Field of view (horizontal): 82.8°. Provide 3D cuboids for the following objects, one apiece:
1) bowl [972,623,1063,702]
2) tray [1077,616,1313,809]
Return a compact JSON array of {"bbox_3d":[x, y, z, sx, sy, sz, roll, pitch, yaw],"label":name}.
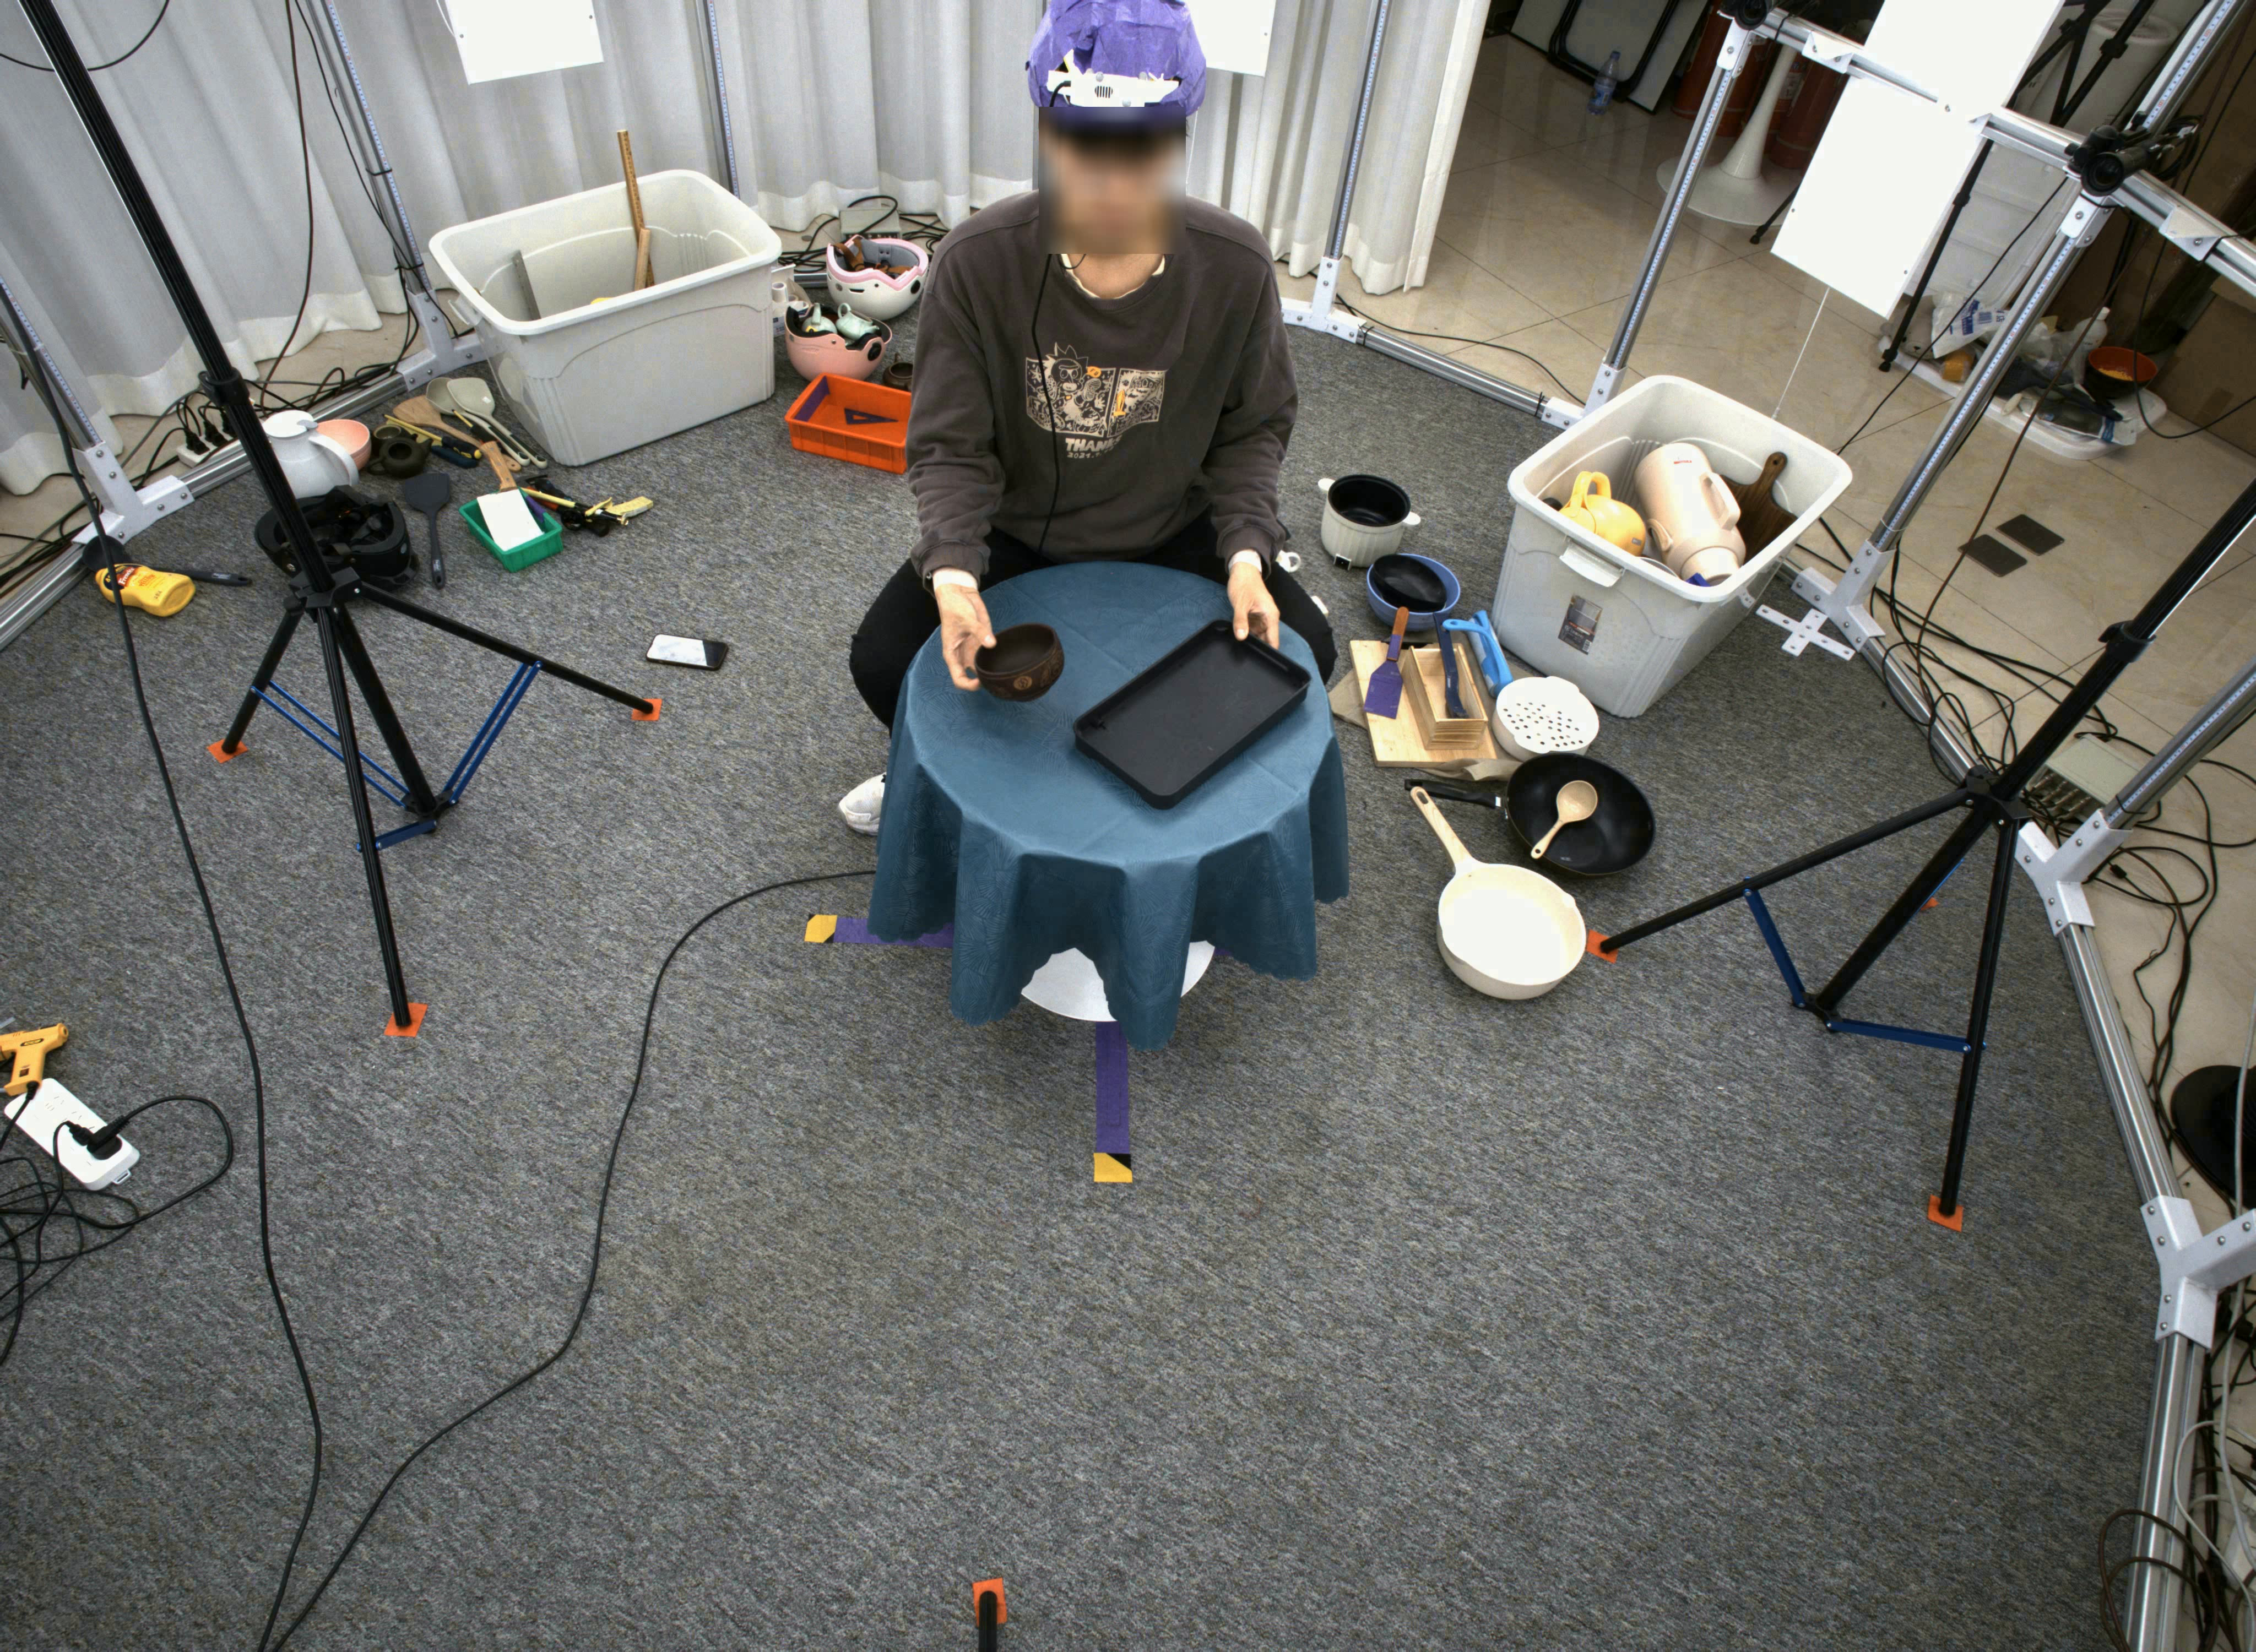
[{"bbox_3d":[-0.140,-0.209,1.707,0.118,0.068,0.121,-14,37,11],"label":"bowl"},{"bbox_3d":[0.095,-0.164,1.782,0.187,0.036,0.321,35,59,26],"label":"tray"}]
